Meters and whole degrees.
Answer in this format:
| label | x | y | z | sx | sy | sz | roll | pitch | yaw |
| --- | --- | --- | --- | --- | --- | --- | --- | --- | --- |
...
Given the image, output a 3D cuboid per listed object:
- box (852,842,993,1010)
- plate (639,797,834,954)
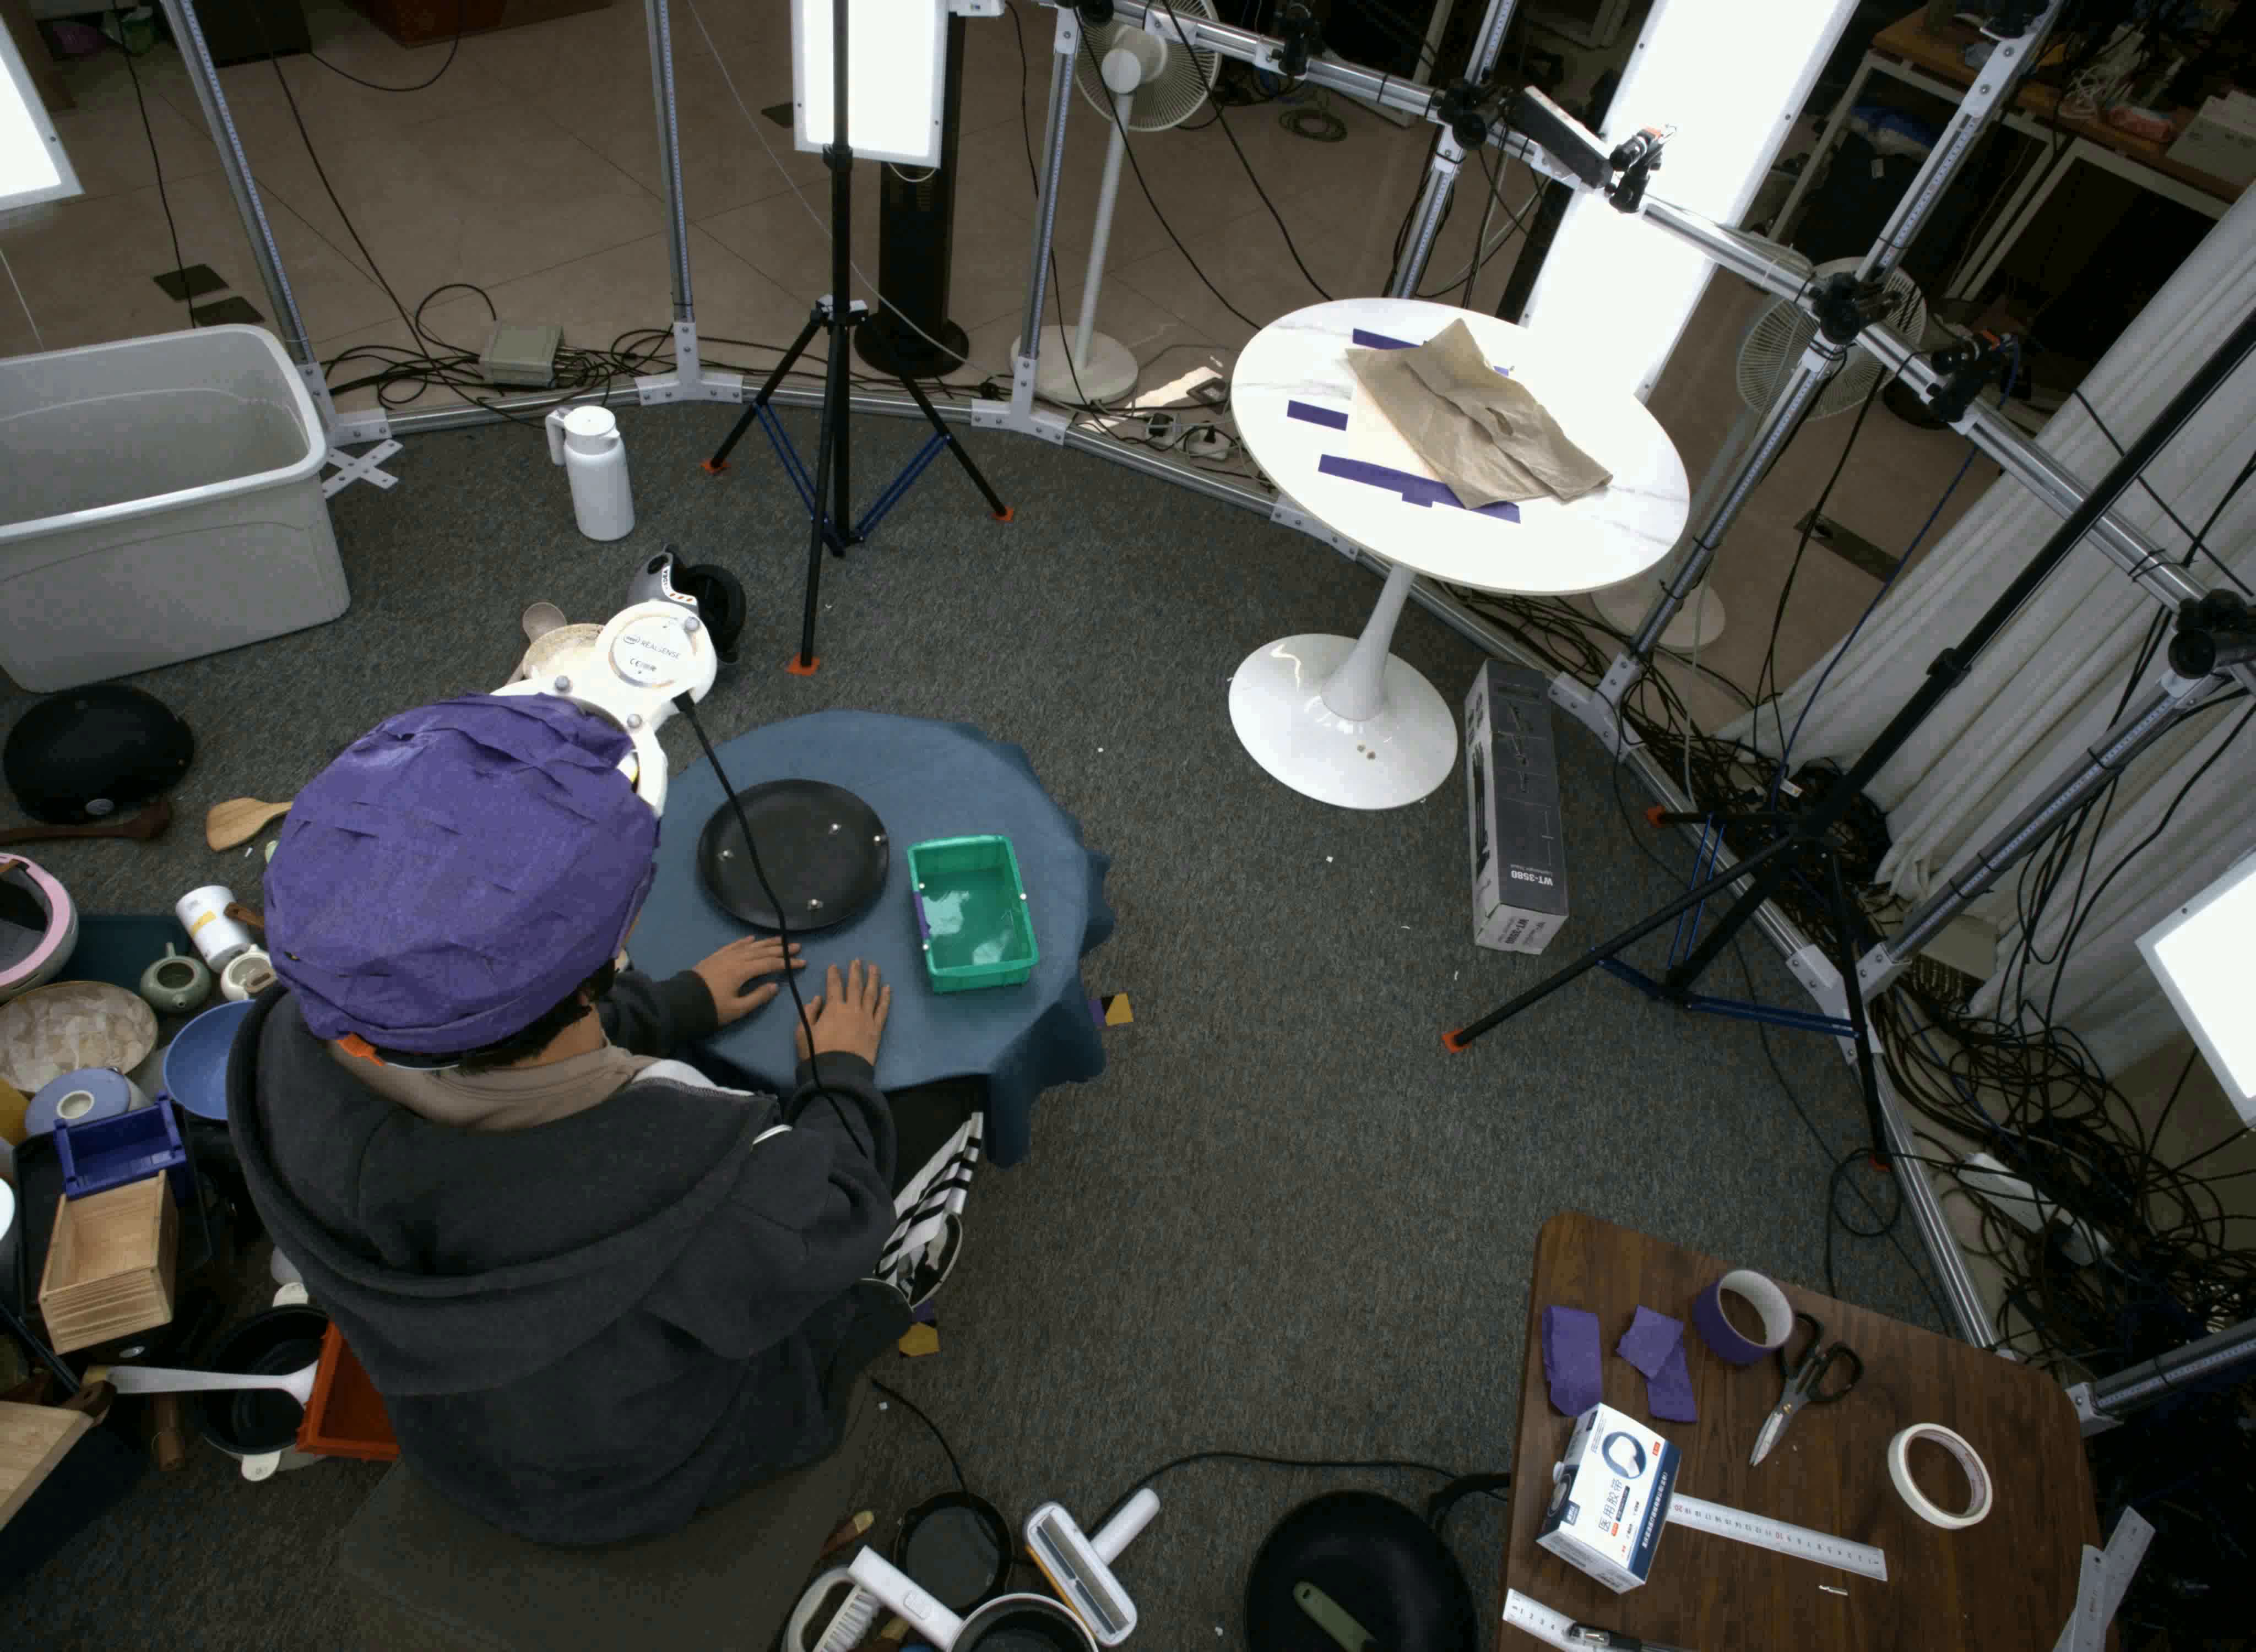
| label | x | y | z | sx | sy | sz | roll | pitch | yaw |
| --- | --- | --- | --- | --- | --- | --- | --- | --- | --- |
| box | -0.260 | 0.126 | 1.636 | 0.139 | 0.066 | 0.206 | -11 | 59 | -19 |
| plate | -0.498 | 0.063 | 1.648 | 0.244 | 0.024 | 0.240 | 8 | 52 | -9 |
